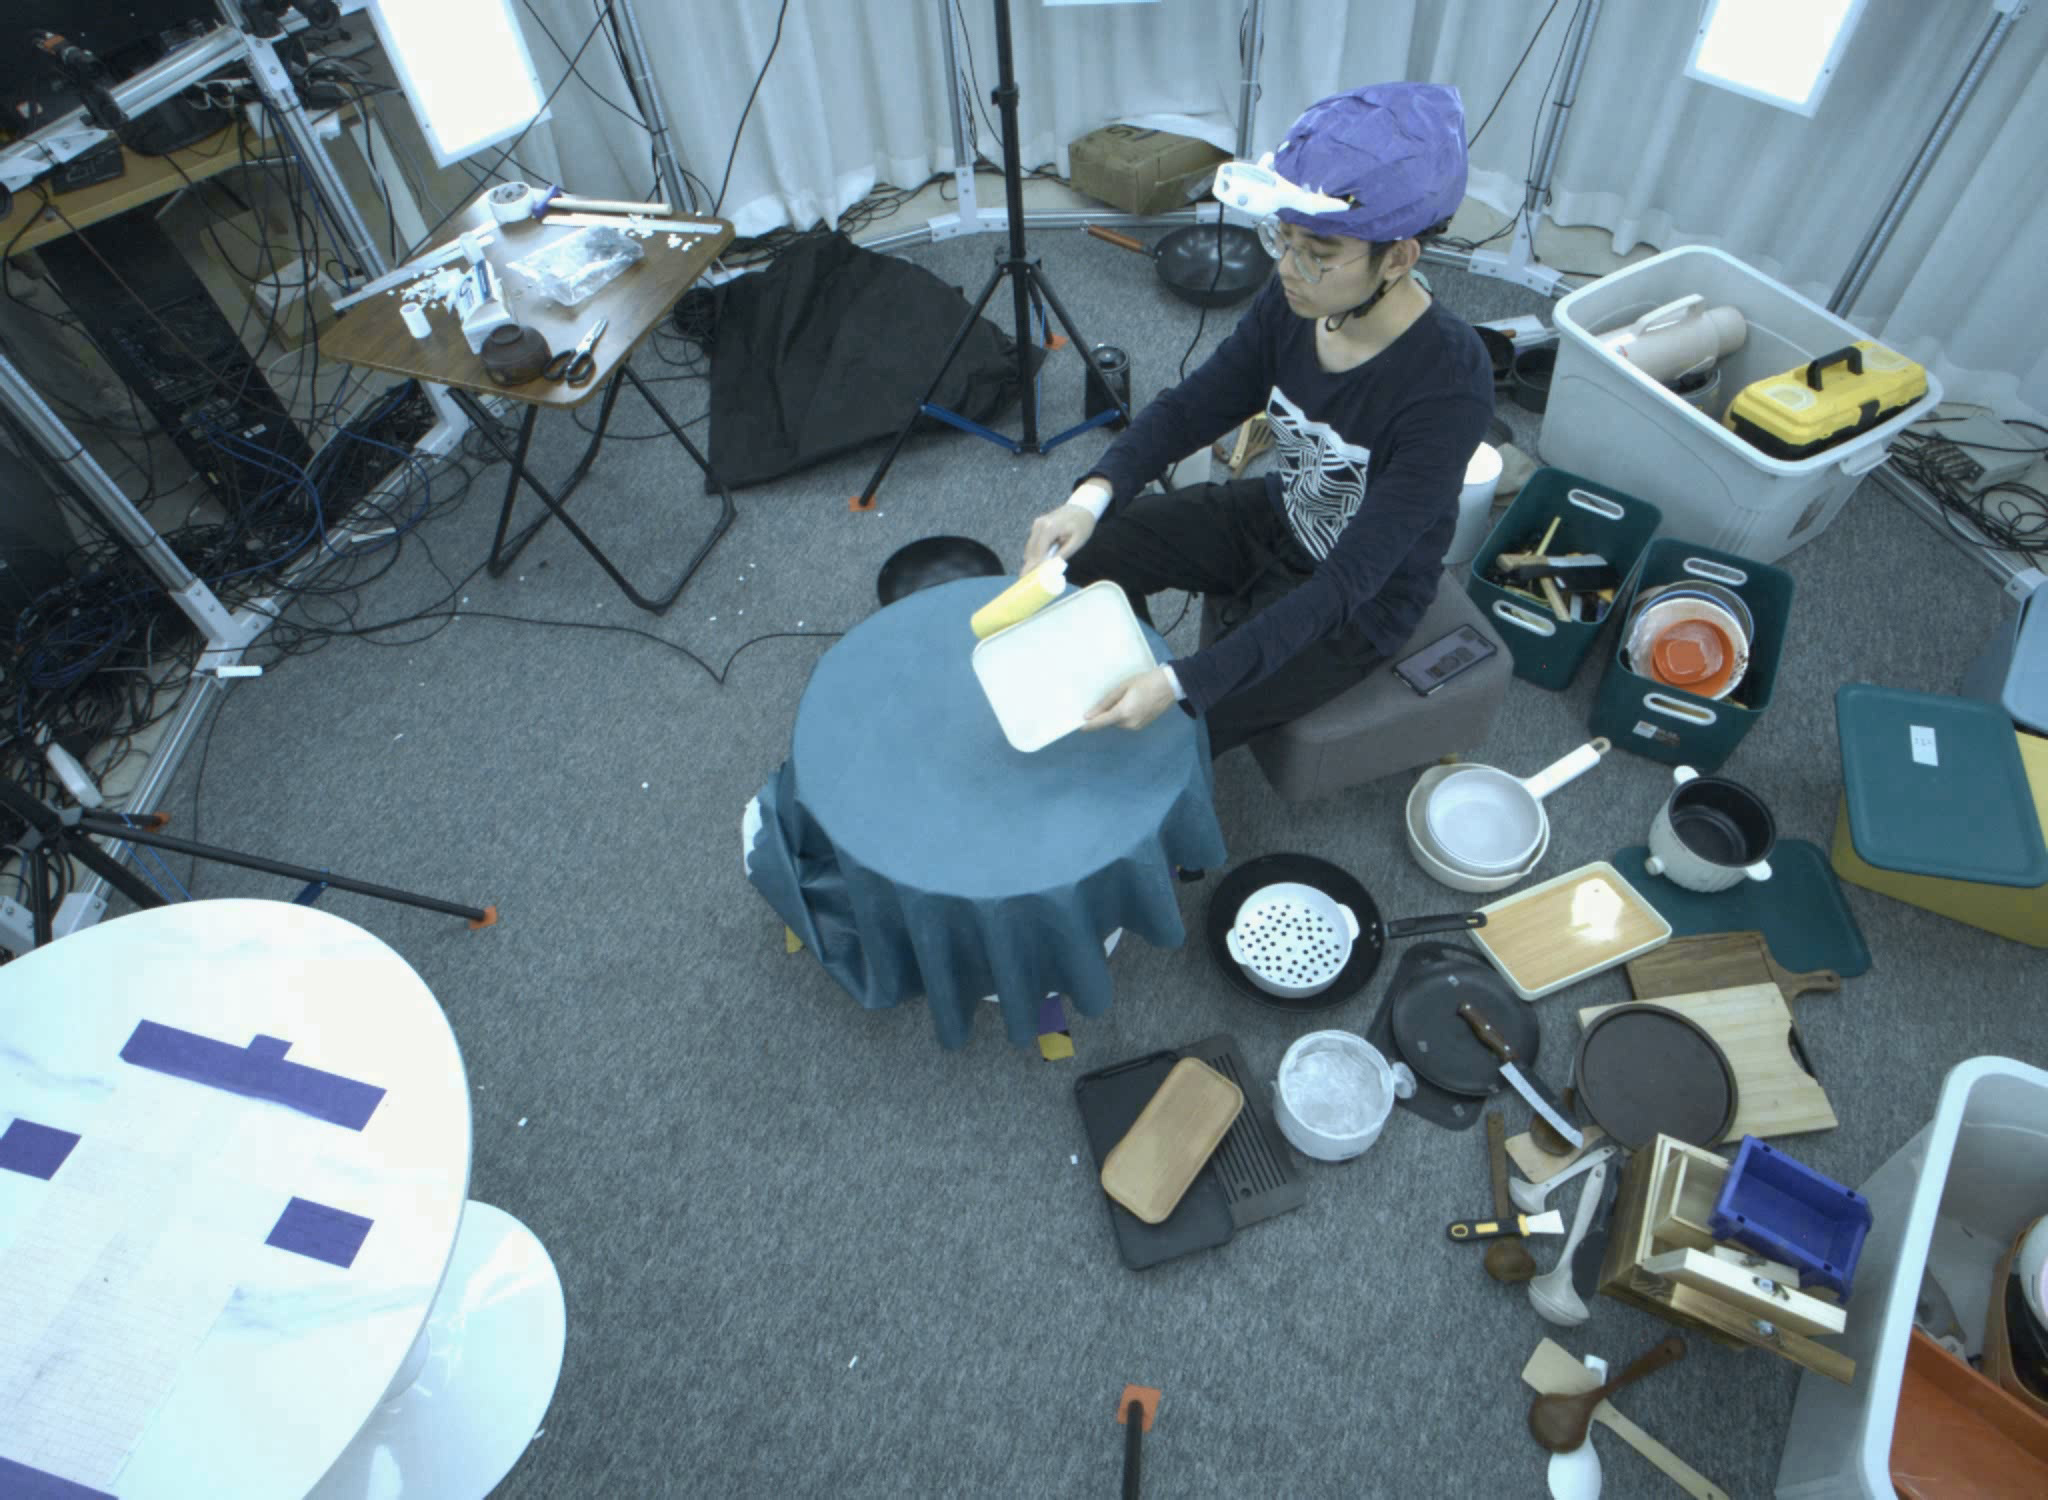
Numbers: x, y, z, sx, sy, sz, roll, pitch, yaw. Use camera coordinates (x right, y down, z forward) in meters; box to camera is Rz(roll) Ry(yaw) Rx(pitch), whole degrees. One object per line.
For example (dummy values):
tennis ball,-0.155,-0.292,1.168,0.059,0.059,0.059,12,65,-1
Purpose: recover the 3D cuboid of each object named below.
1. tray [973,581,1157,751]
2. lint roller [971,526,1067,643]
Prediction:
tray,0.058,-0.117,1.712,0.241,0.017,0.172,-28,103,-13
lint roller,0.008,-0.257,1.727,0.052,0.172,0.191,32,52,-24
